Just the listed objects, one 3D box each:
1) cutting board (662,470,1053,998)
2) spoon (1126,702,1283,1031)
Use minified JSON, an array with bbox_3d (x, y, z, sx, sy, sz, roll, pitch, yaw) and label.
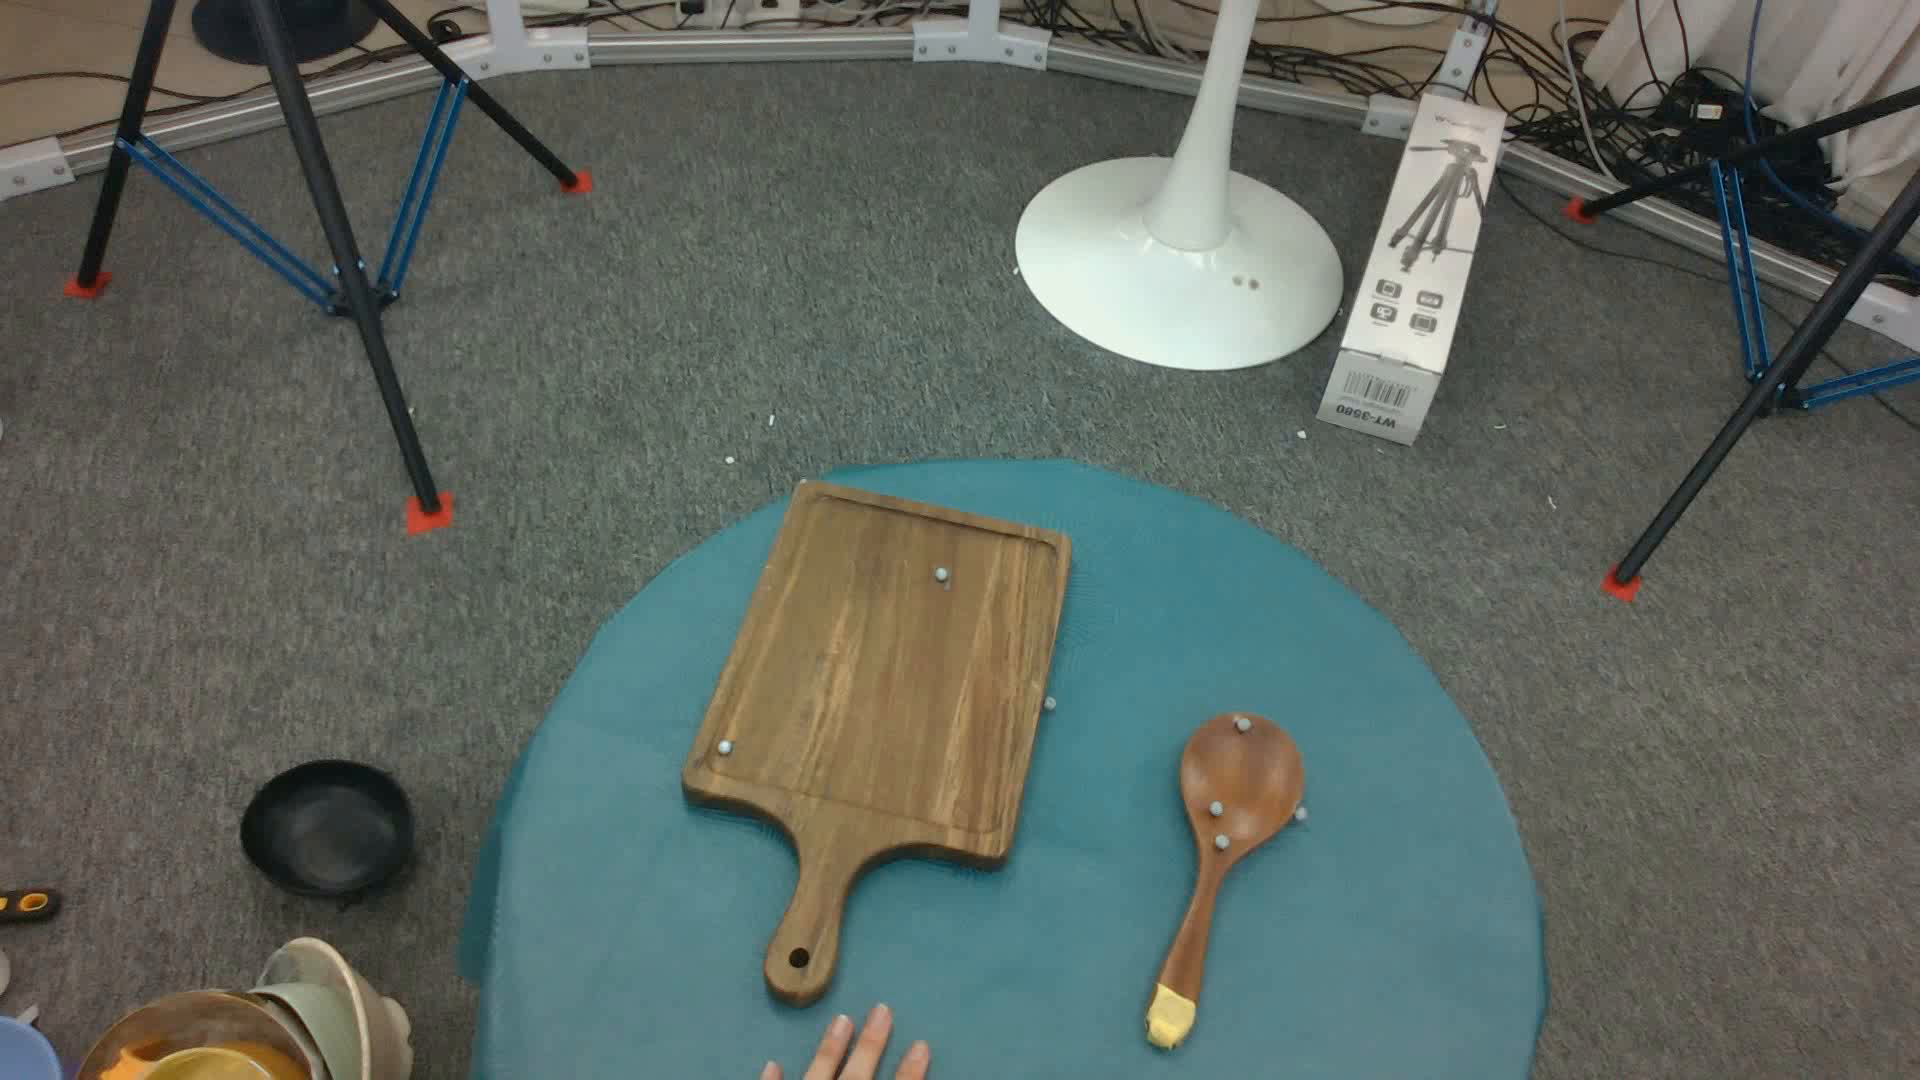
[{"bbox_3d":[-0.064,0.104,0.835,0.201,0.023,0.354,13,50,3],"label":"cutting board"},{"bbox_3d":[0.135,0.182,0.795,0.075,0.017,0.217,21,50,8],"label":"spoon"}]
